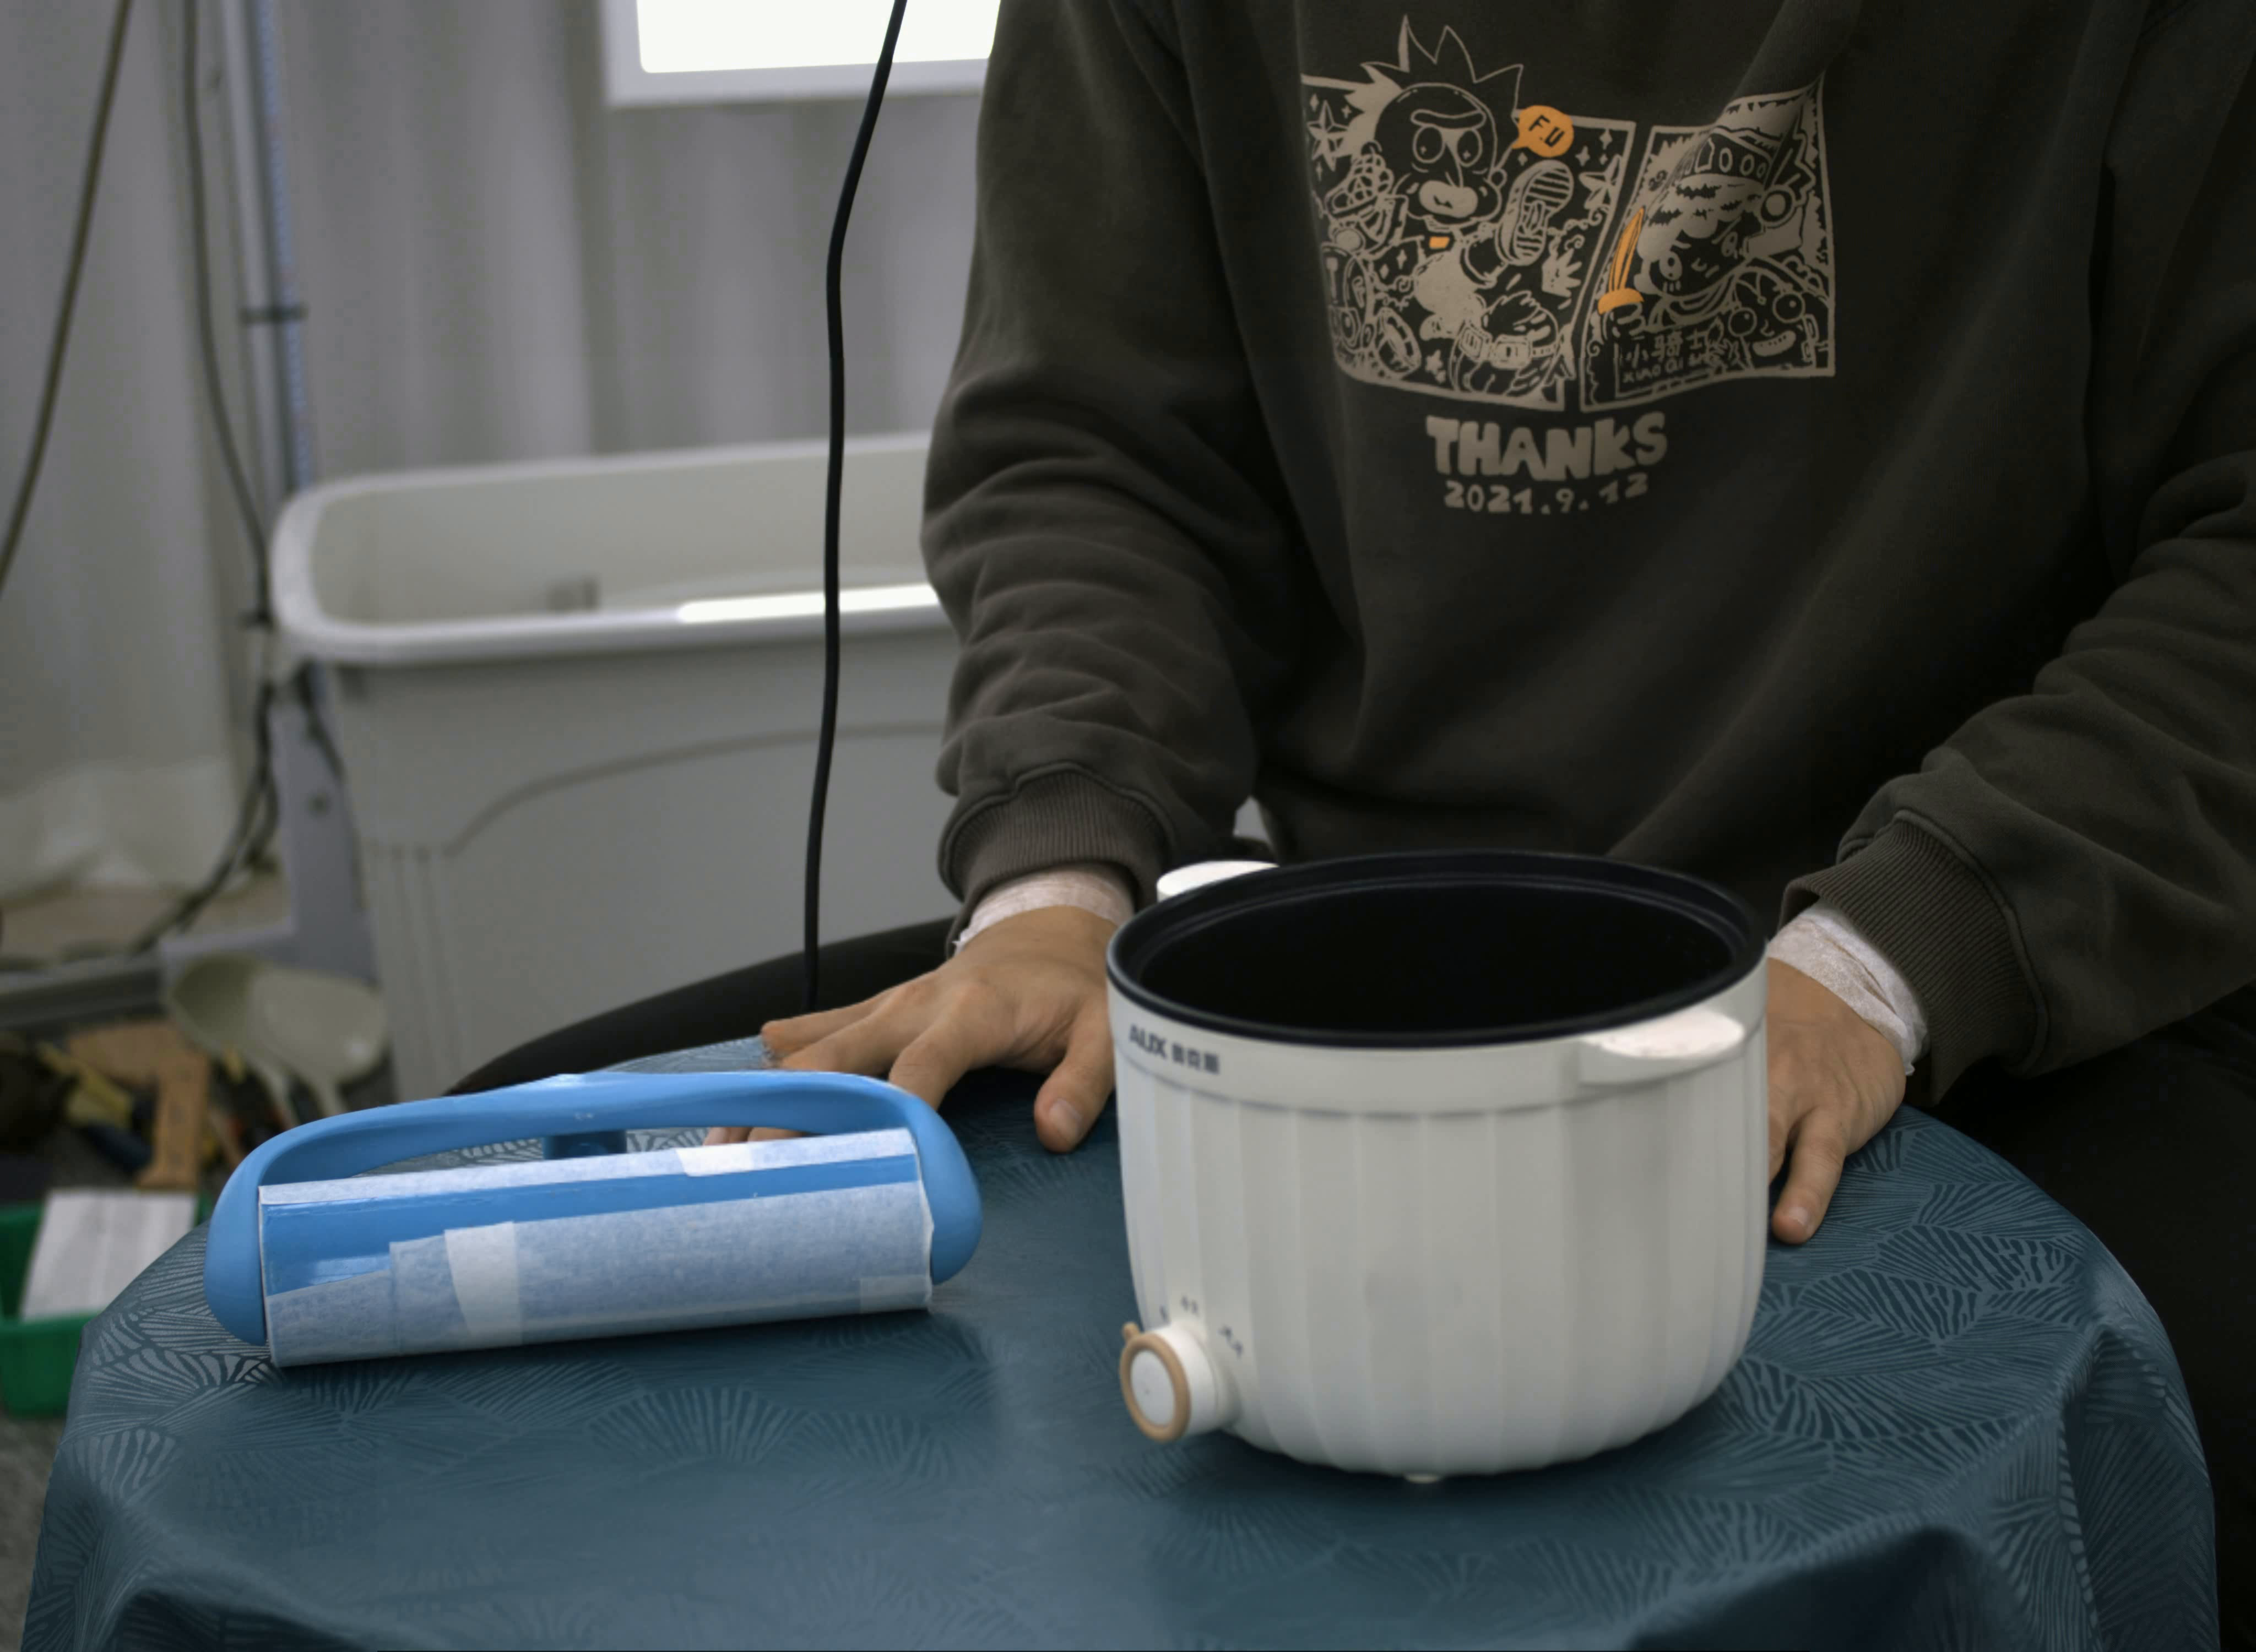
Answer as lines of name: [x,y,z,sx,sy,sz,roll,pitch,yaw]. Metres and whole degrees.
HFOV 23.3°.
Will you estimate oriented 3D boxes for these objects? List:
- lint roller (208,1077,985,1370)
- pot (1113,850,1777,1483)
lint roller: [-0.166,0.108,1.670,0.228,0.067,0.182,-7,16,-9]
pot: [0.085,0.096,1.509,0.189,0.142,0.242,-9,14,-34]
